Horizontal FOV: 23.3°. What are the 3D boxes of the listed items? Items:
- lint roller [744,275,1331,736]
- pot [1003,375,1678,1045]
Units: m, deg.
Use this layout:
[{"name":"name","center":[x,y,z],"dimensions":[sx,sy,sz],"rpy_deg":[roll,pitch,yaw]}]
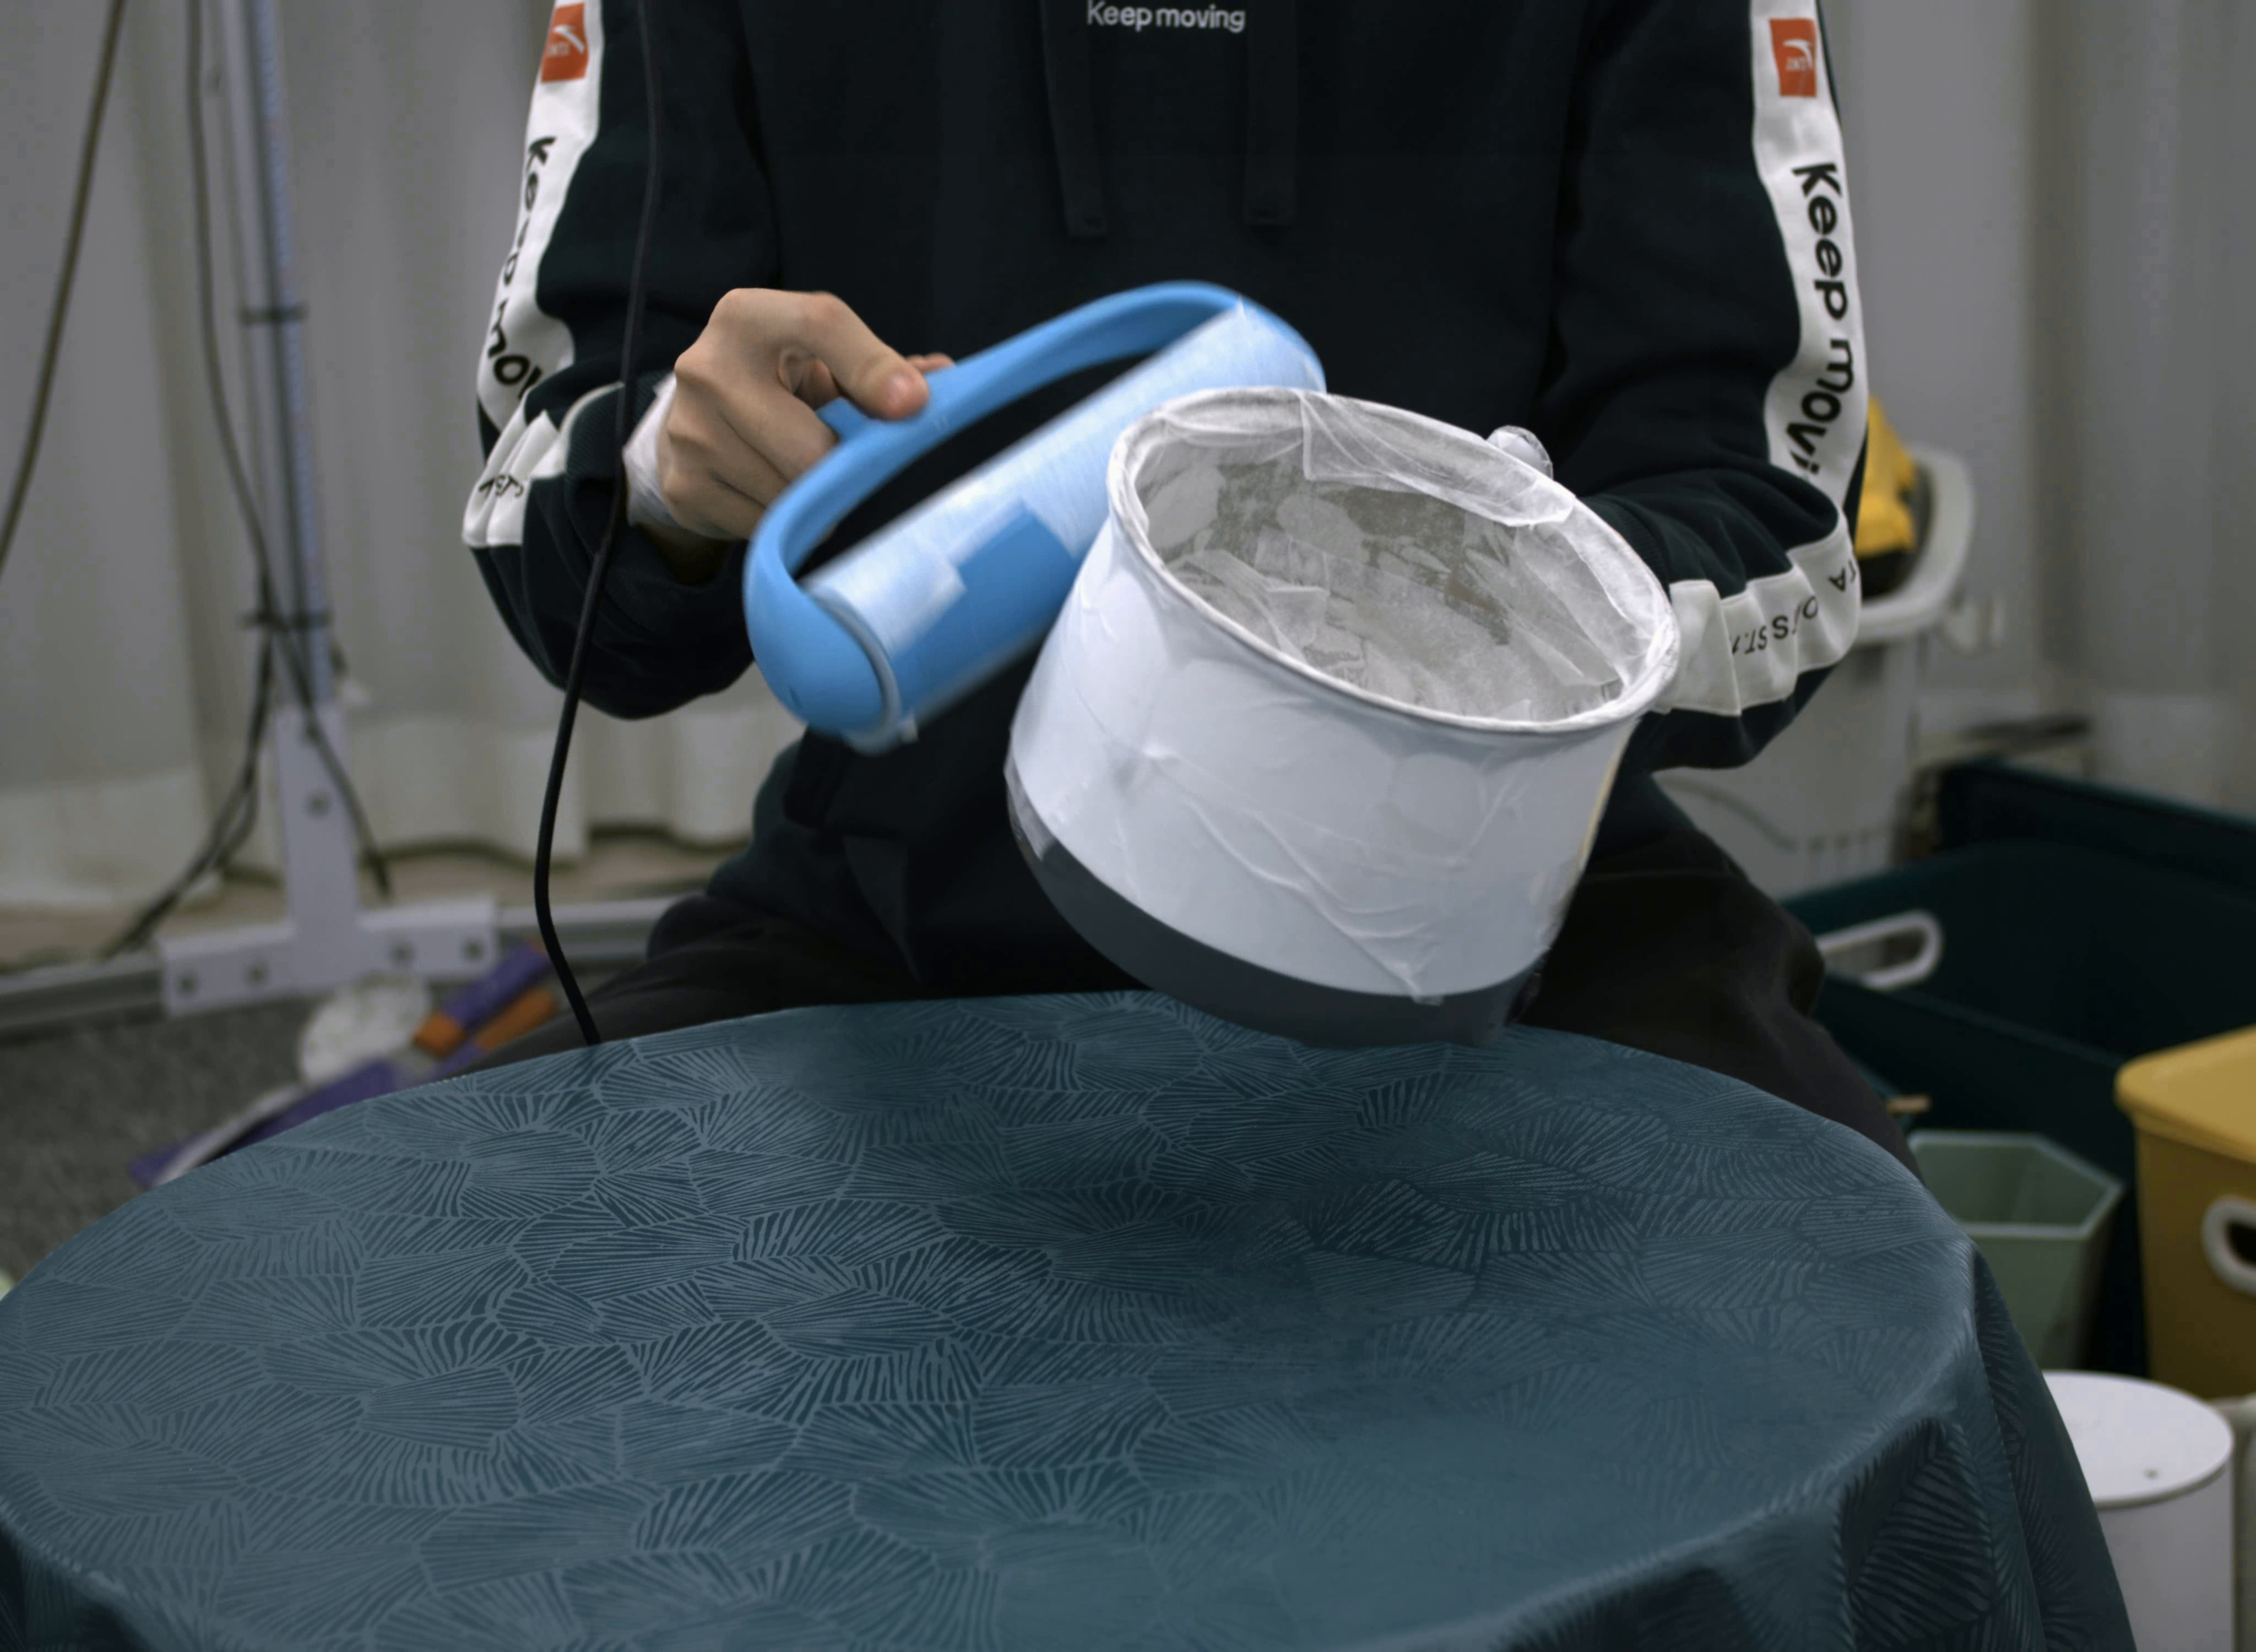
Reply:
[{"name":"lint roller","center":[-0.063,-0.107,1.715],"dimensions":[0.181,0.067,0.230],"rpy_deg":[12,39,41]},{"name":"pot","center":[0.070,-0.043,1.653],"dimensions":[0.179,0.135,0.235],"rpy_deg":[29,33,12]}]
